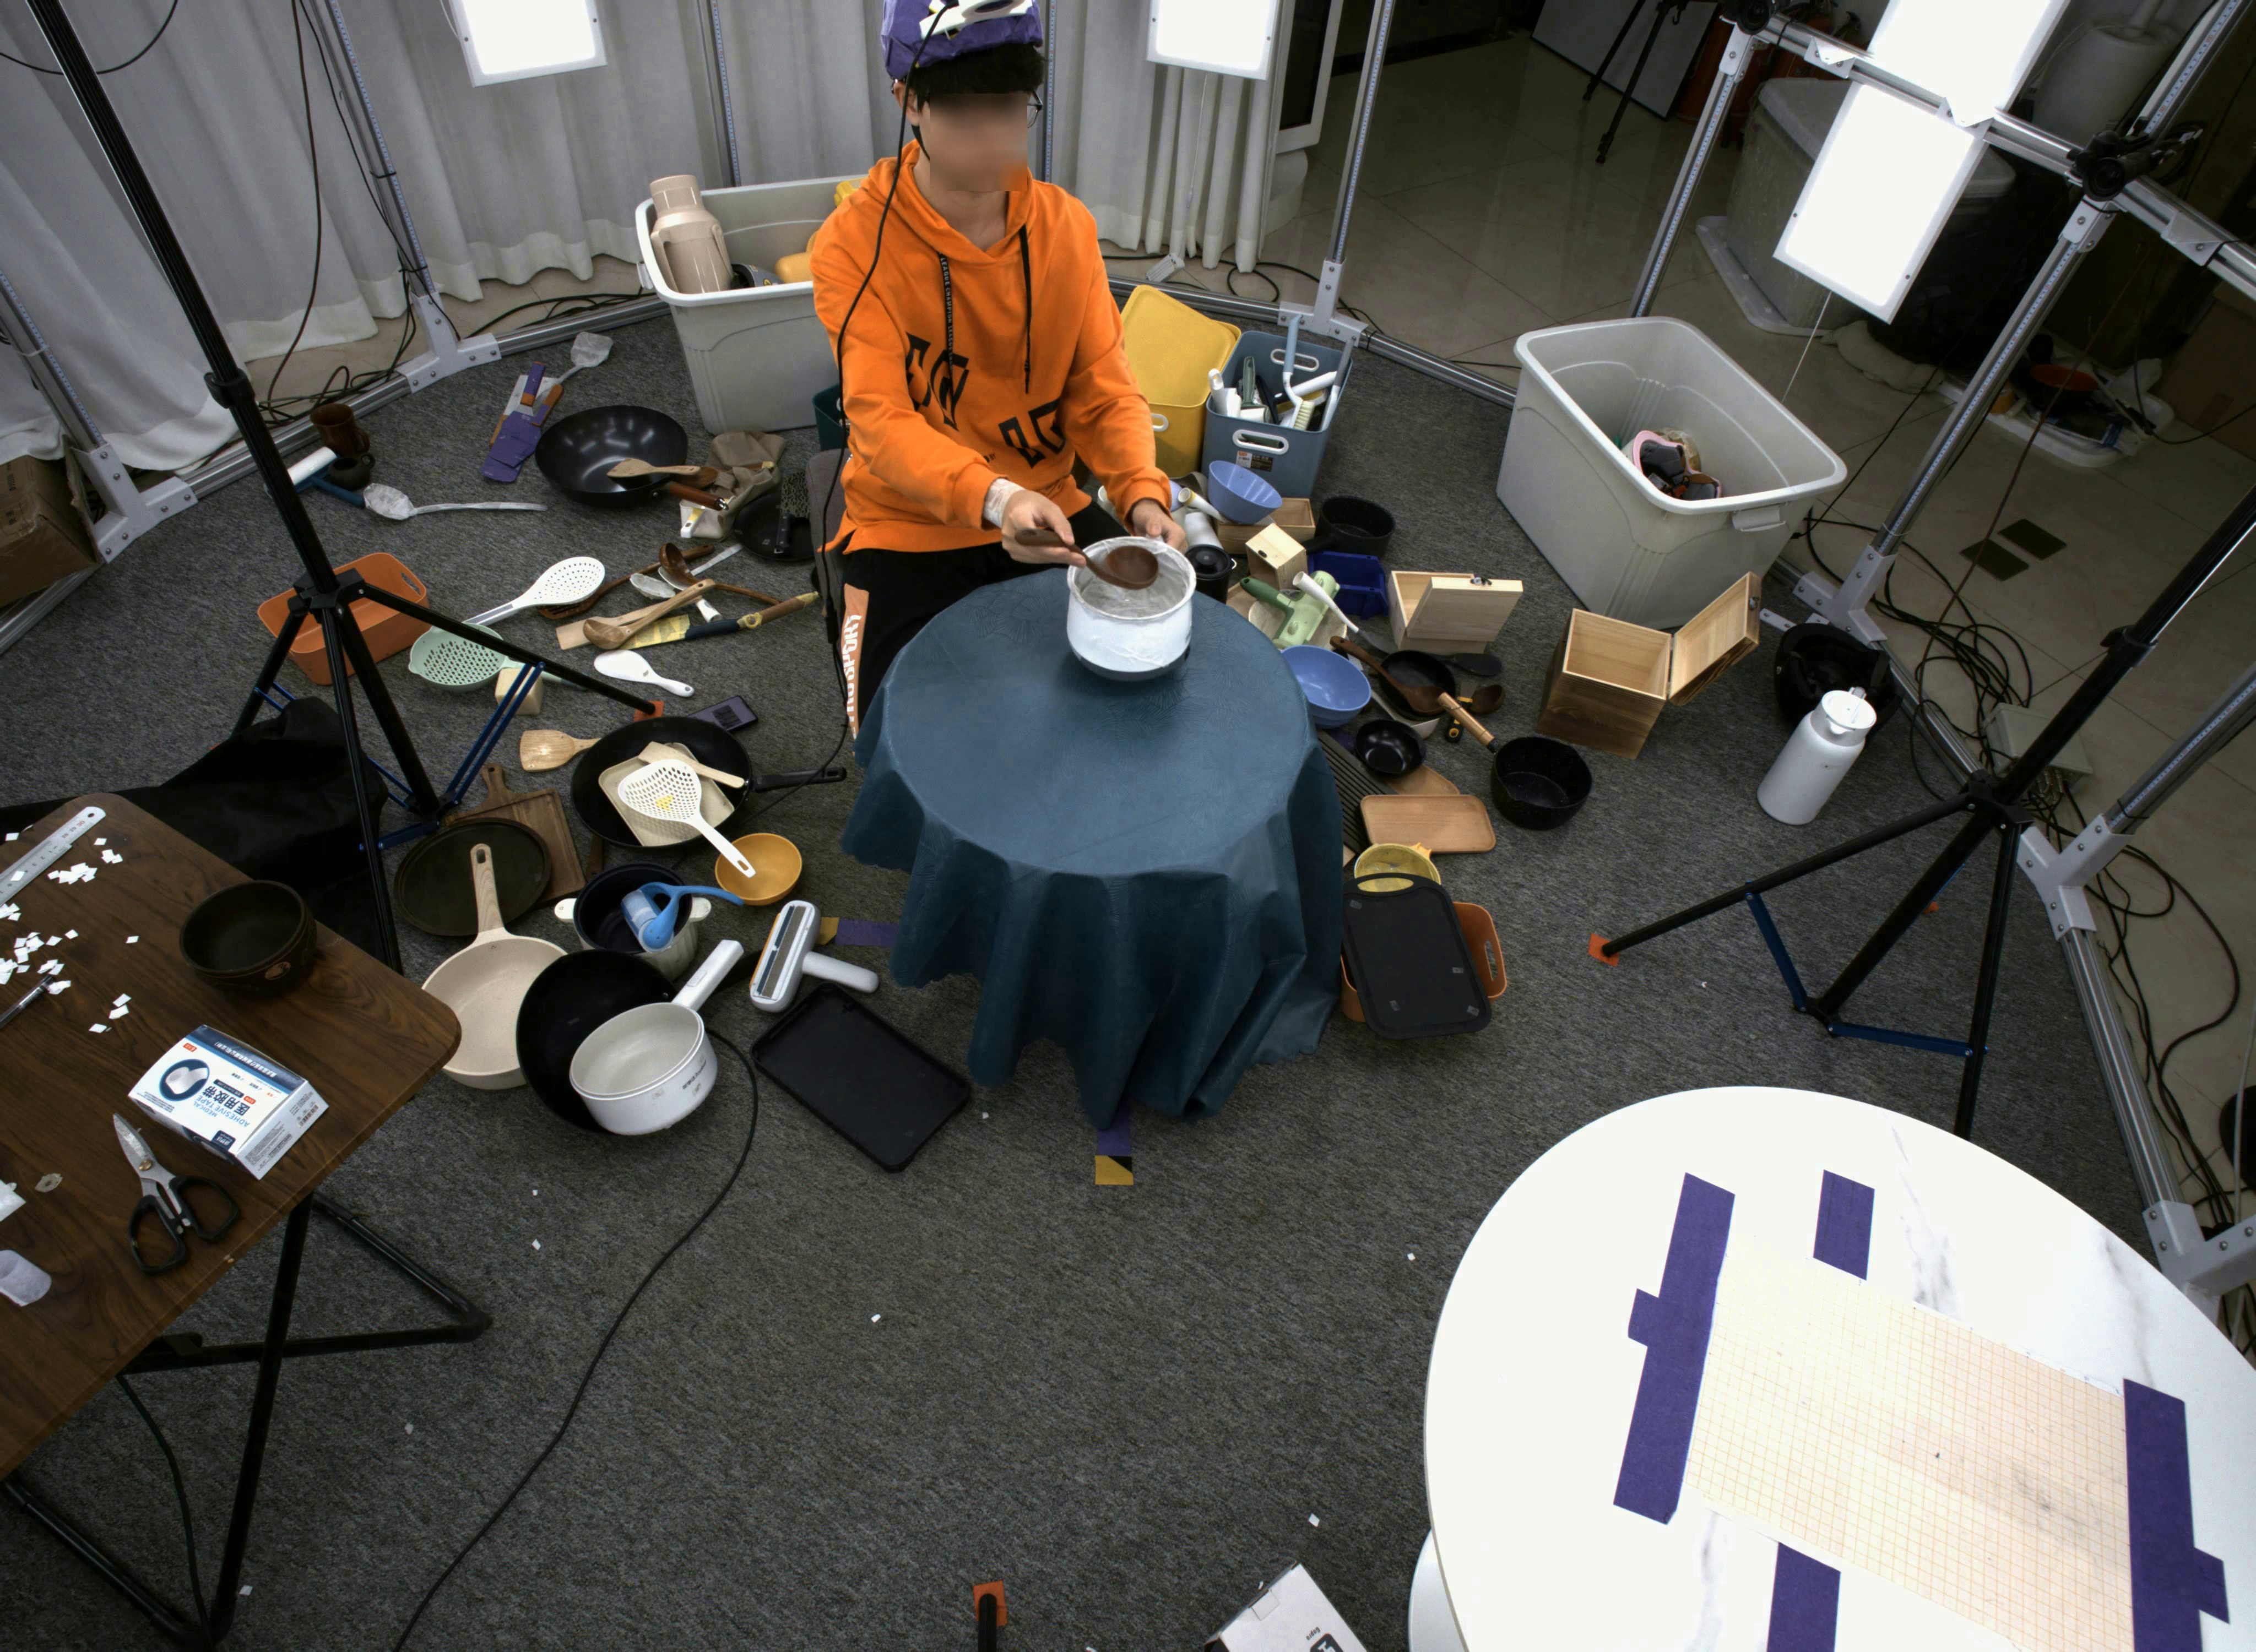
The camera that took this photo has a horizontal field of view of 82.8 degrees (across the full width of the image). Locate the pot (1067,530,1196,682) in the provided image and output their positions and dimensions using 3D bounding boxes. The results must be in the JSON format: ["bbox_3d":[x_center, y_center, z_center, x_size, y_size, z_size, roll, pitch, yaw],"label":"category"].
[{"bbox_3d":[0.010,-0.322,1.826,0.179,0.133,0.239,14,50,9],"label":"pot"}]

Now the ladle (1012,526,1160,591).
[{"bbox_3d":[-0.051,-0.361,1.675,0.078,0.064,0.257,49,20,29],"label":"ladle"}]
